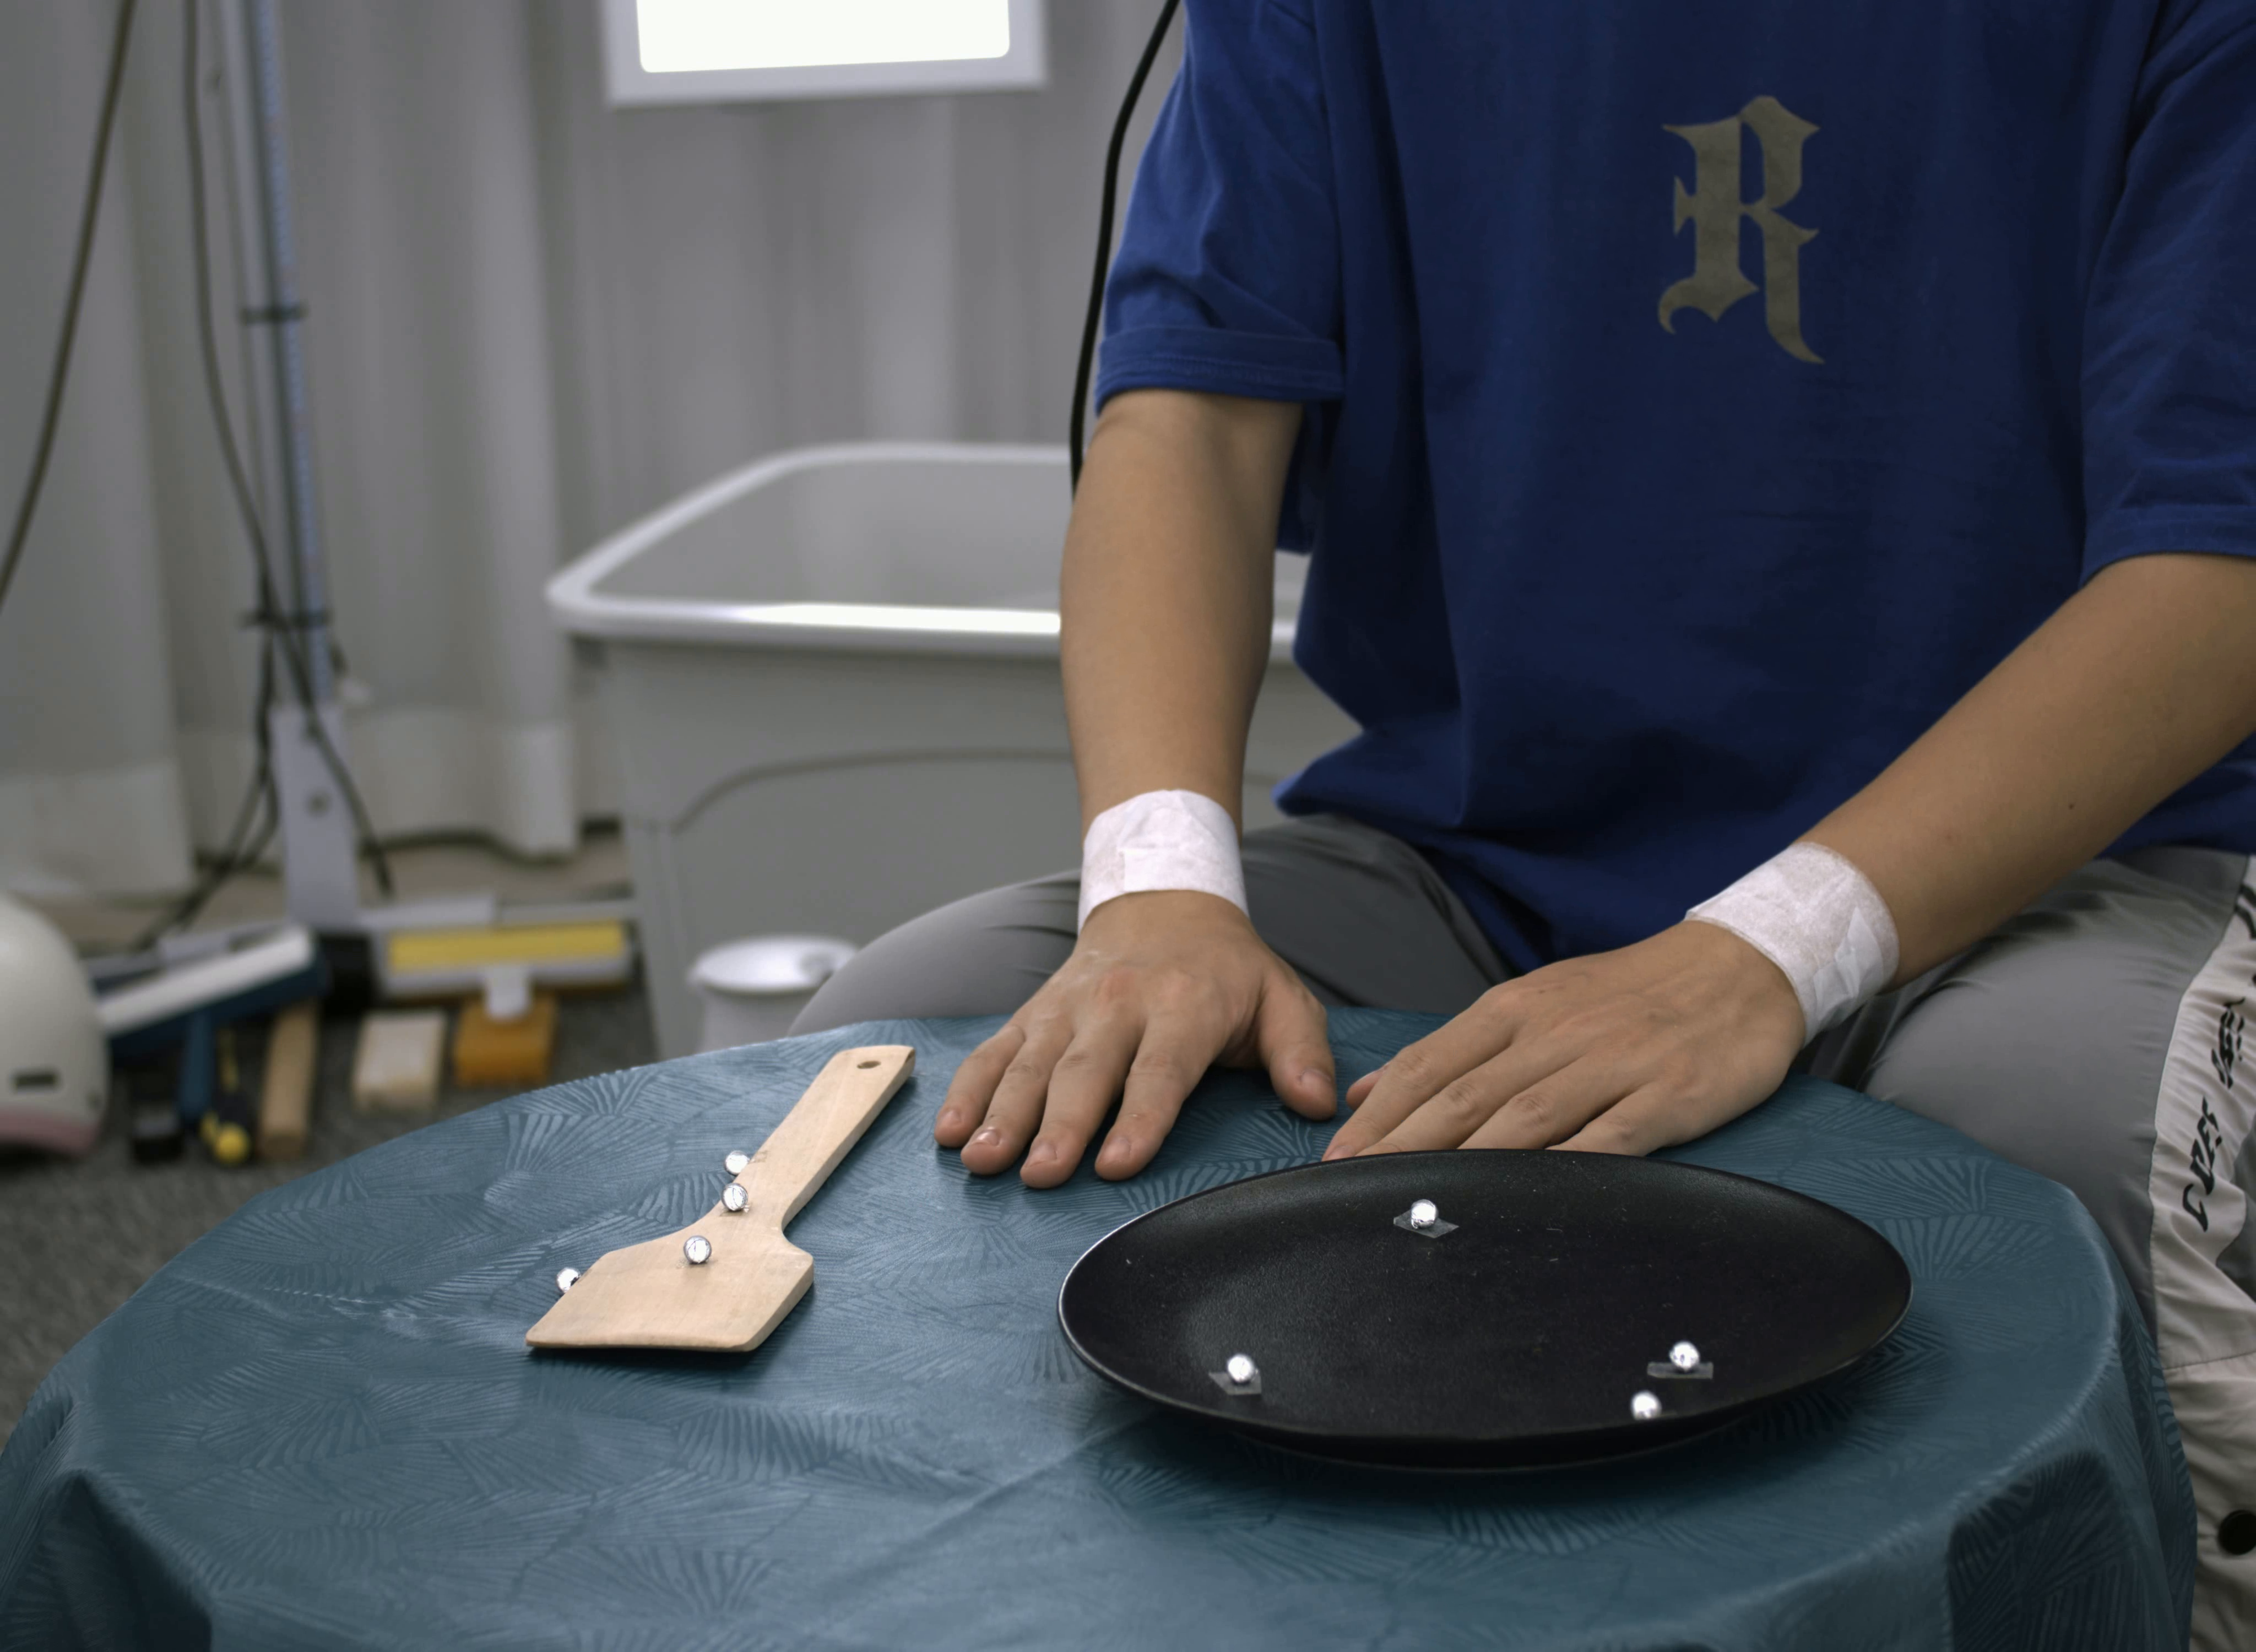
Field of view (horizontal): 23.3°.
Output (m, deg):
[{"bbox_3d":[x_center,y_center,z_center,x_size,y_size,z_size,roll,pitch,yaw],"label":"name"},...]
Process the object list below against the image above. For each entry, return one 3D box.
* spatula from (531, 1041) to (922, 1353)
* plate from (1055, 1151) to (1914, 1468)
[{"bbox_3d":[-0.112,0.114,1.716,0.072,0.010,0.294,-1,15,12],"label":"spatula"},{"bbox_3d":[0.101,0.139,1.552,0.243,0.023,0.246,-3,15,0],"label":"plate"}]
